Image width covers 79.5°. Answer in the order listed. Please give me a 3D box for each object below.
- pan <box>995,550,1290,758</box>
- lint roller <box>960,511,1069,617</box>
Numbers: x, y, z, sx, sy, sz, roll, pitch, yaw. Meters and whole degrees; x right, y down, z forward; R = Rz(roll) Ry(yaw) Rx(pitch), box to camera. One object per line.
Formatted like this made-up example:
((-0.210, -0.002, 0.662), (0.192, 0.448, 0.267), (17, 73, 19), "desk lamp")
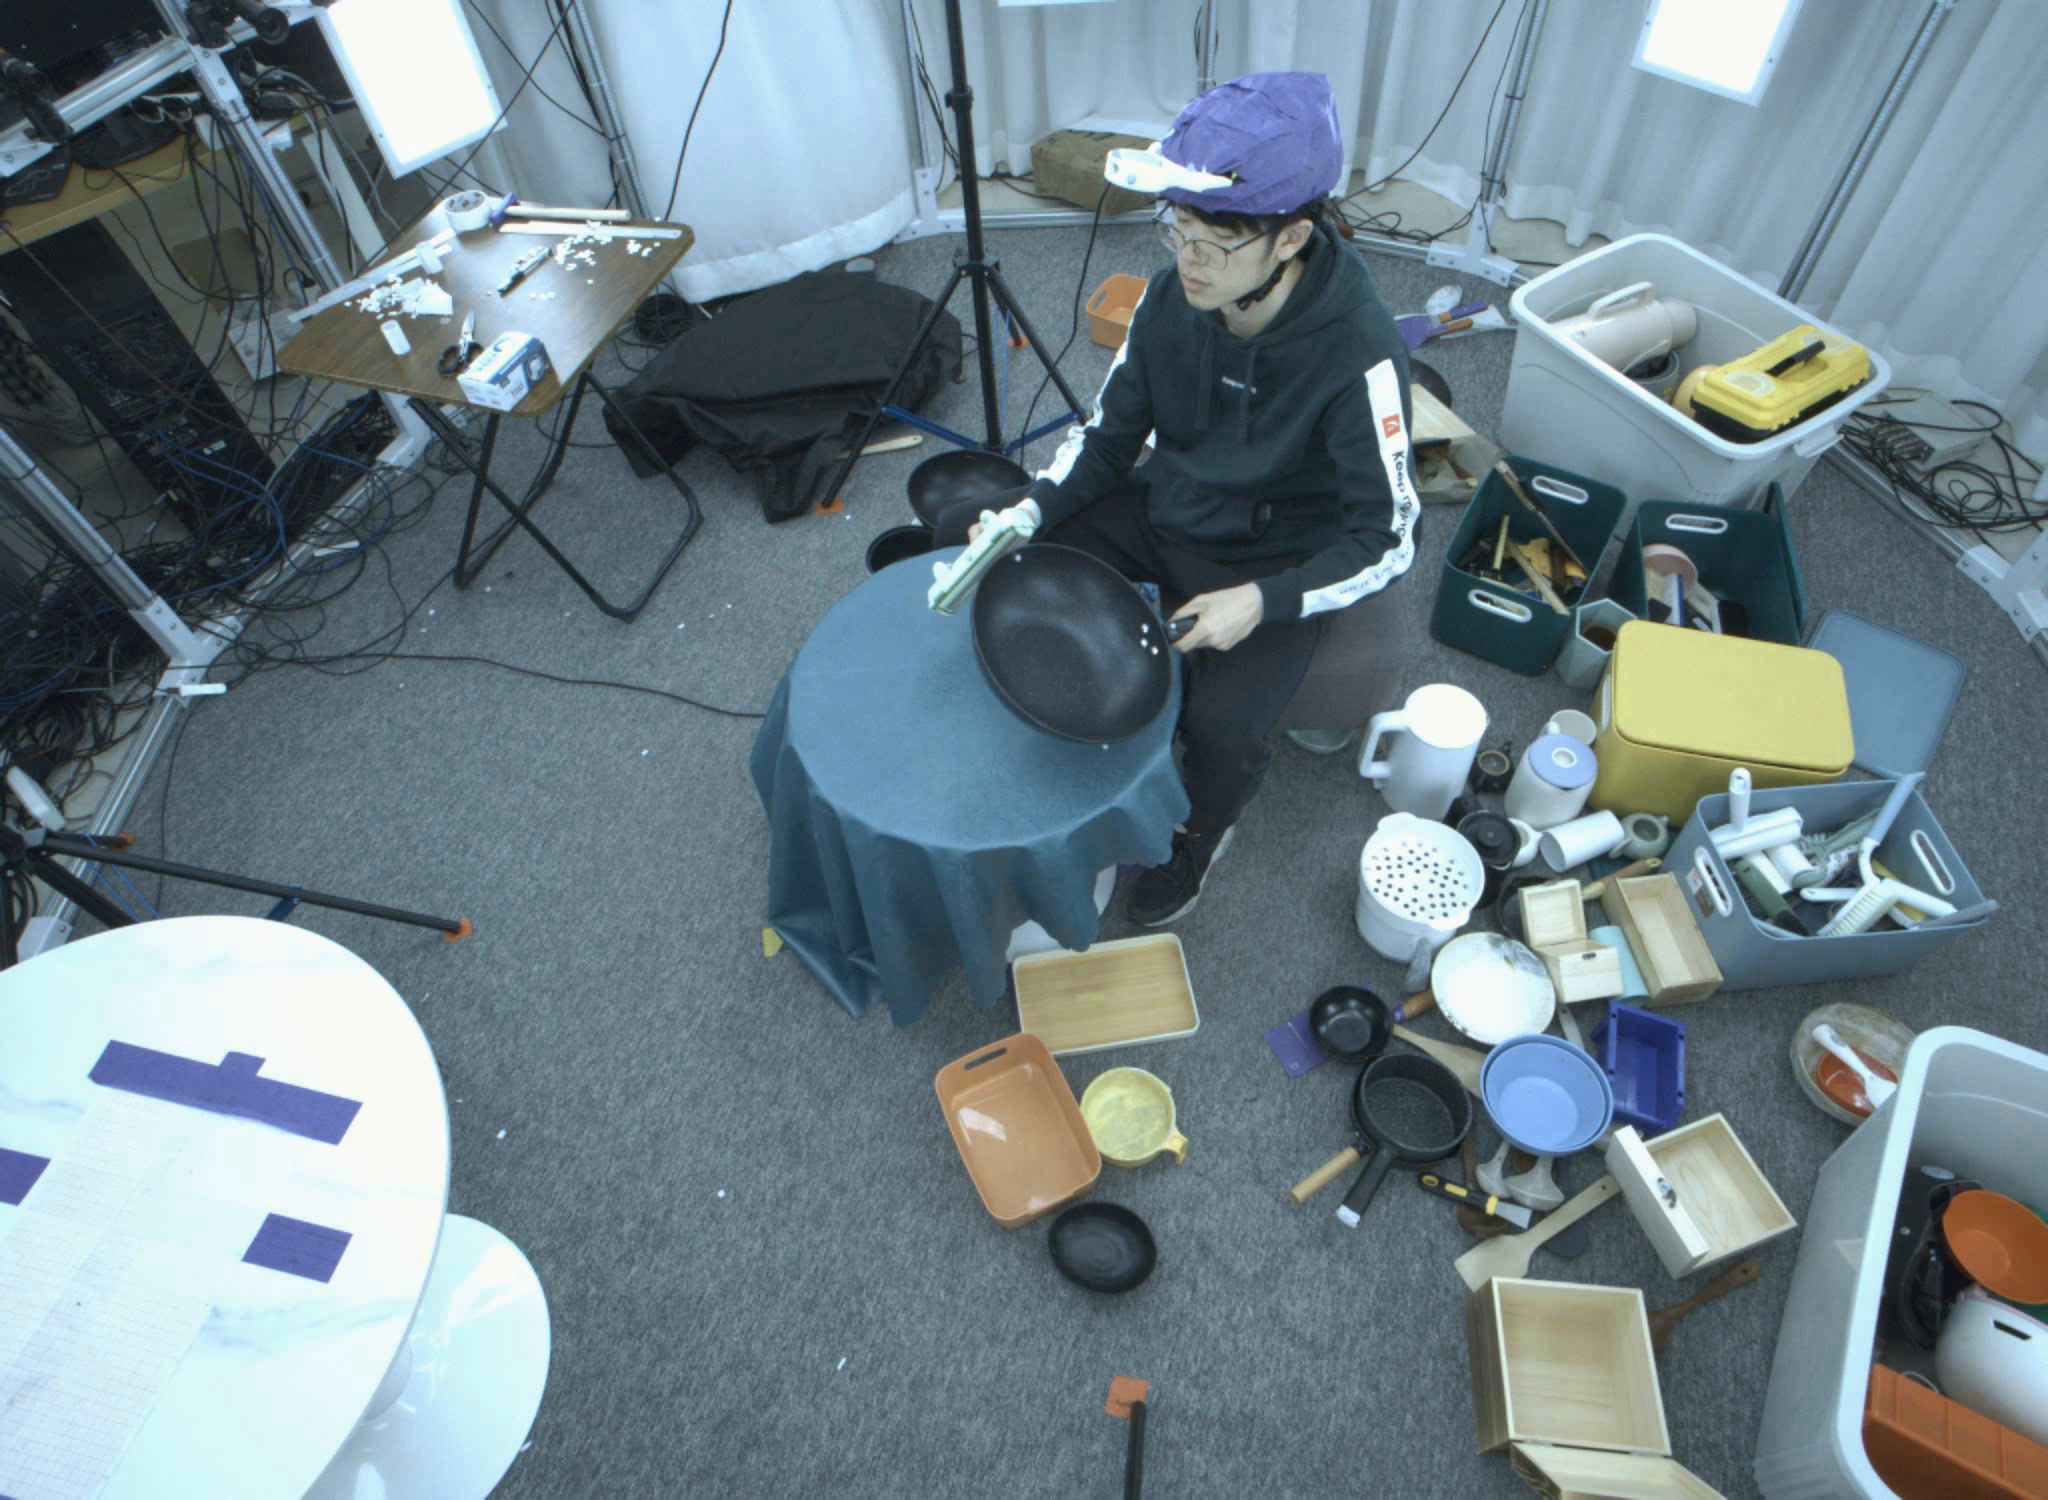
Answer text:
((0.163, -0.134, 1.718), (0.485, 0.110, 0.307), (-9, 73, -32), "pan")
((-0.007, -0.302, 1.830), (0.083, 0.197, 0.183), (44, 33, -10), "lint roller")
